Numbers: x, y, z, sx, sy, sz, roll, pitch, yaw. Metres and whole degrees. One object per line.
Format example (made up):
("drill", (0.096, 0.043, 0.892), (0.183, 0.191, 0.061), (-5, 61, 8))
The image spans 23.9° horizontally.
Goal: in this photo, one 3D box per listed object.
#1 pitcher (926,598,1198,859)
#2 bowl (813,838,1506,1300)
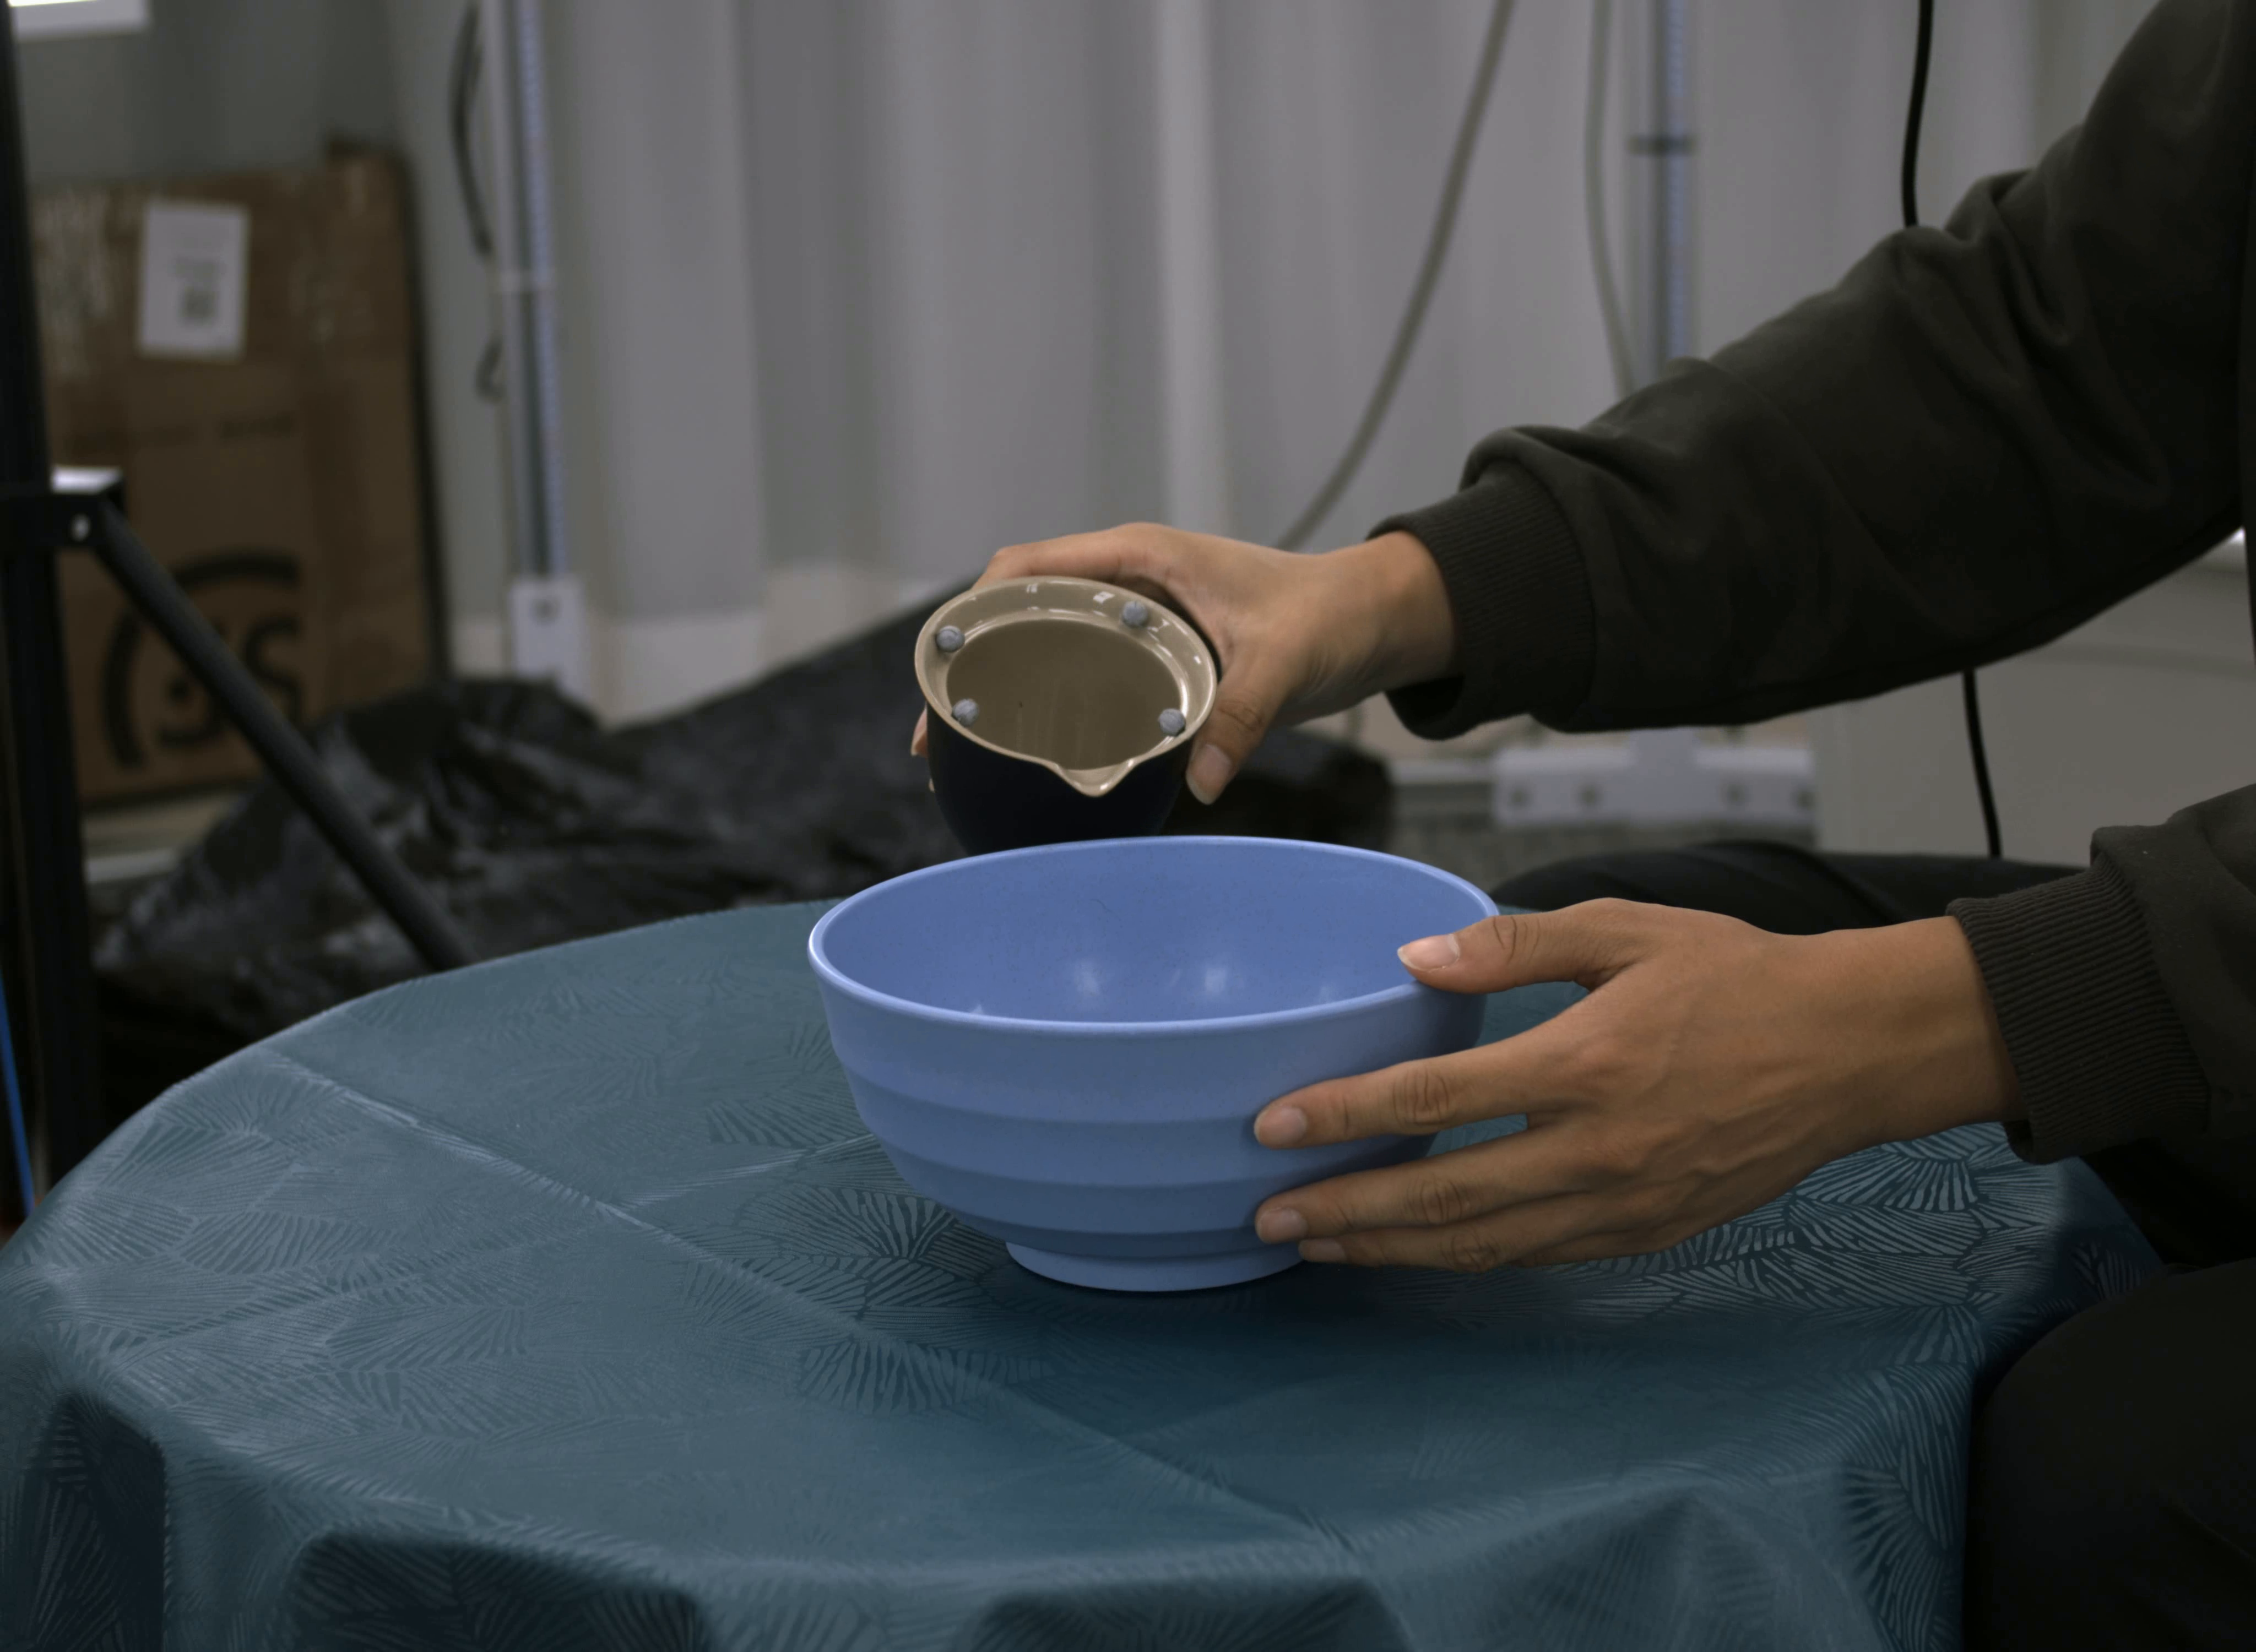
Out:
("pitcher", (-0.021, -0.018, 1.639), (0.082, 0.071, 0.097), (-2, 39, -11))
("bowl", (0.009, 0.075, 1.509), (0.195, 0.095, 0.197), (-1, 15, -1))
